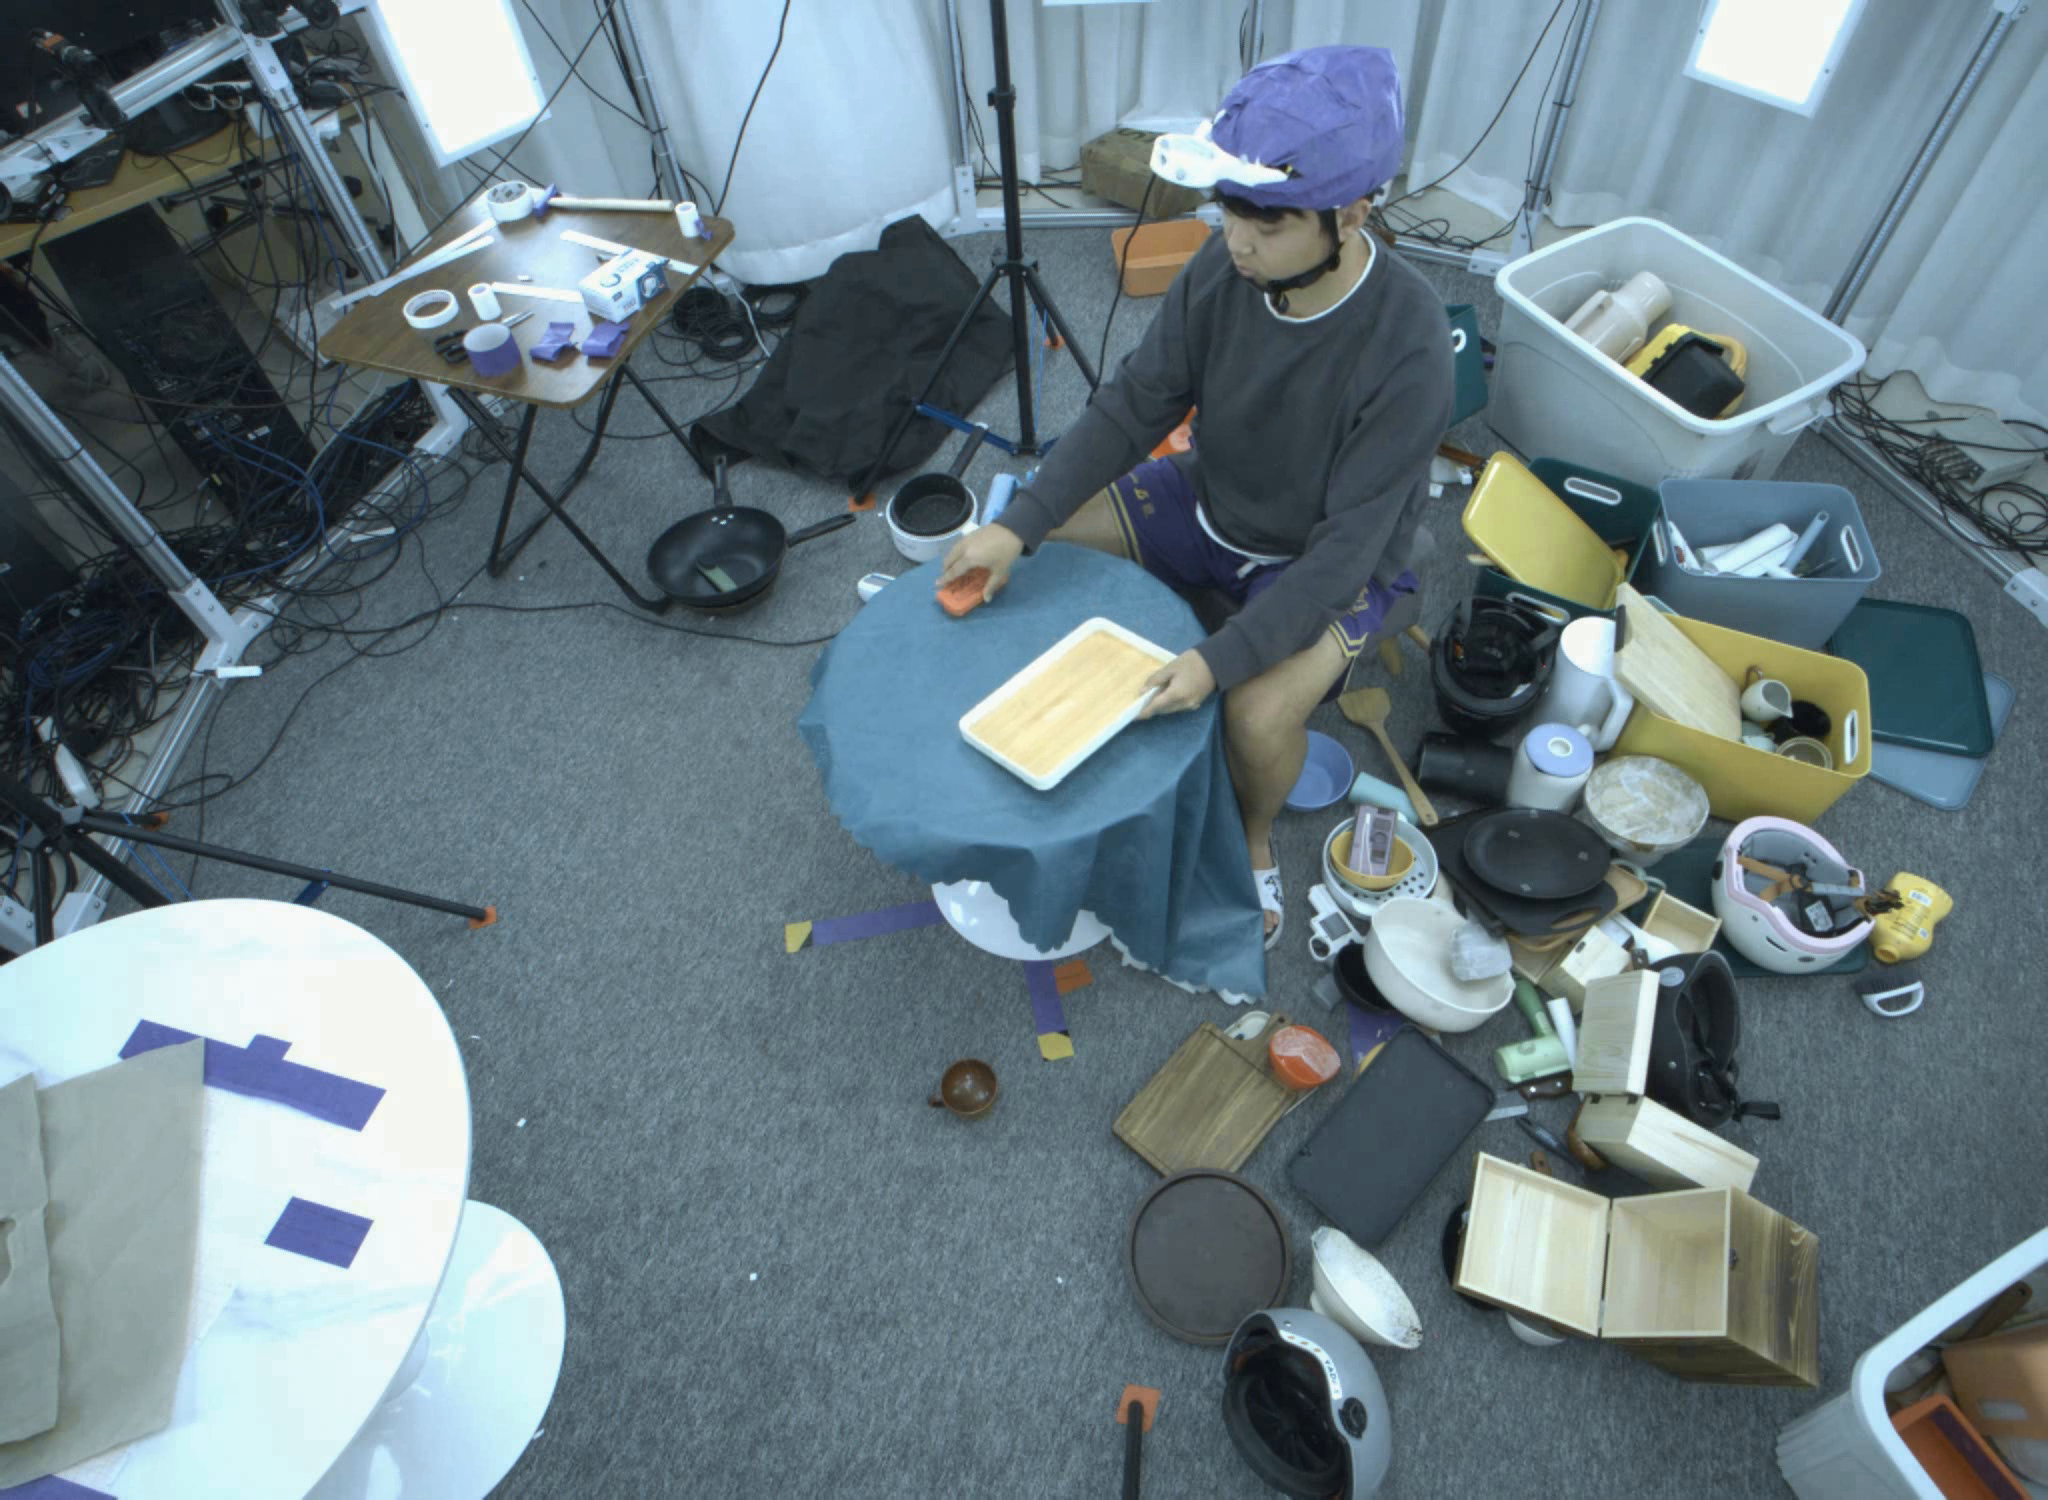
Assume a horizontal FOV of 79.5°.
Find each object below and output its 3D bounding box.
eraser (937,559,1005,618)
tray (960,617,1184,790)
[{"bbox_3d":[-0.085,-0.258,1.959,0.058,0.023,0.109,41,64,19],"label":"eraser"},{"bbox_3d":[0.071,-0.074,1.803,0.302,0.028,0.187,-39,51,-23],"label":"tray"}]
